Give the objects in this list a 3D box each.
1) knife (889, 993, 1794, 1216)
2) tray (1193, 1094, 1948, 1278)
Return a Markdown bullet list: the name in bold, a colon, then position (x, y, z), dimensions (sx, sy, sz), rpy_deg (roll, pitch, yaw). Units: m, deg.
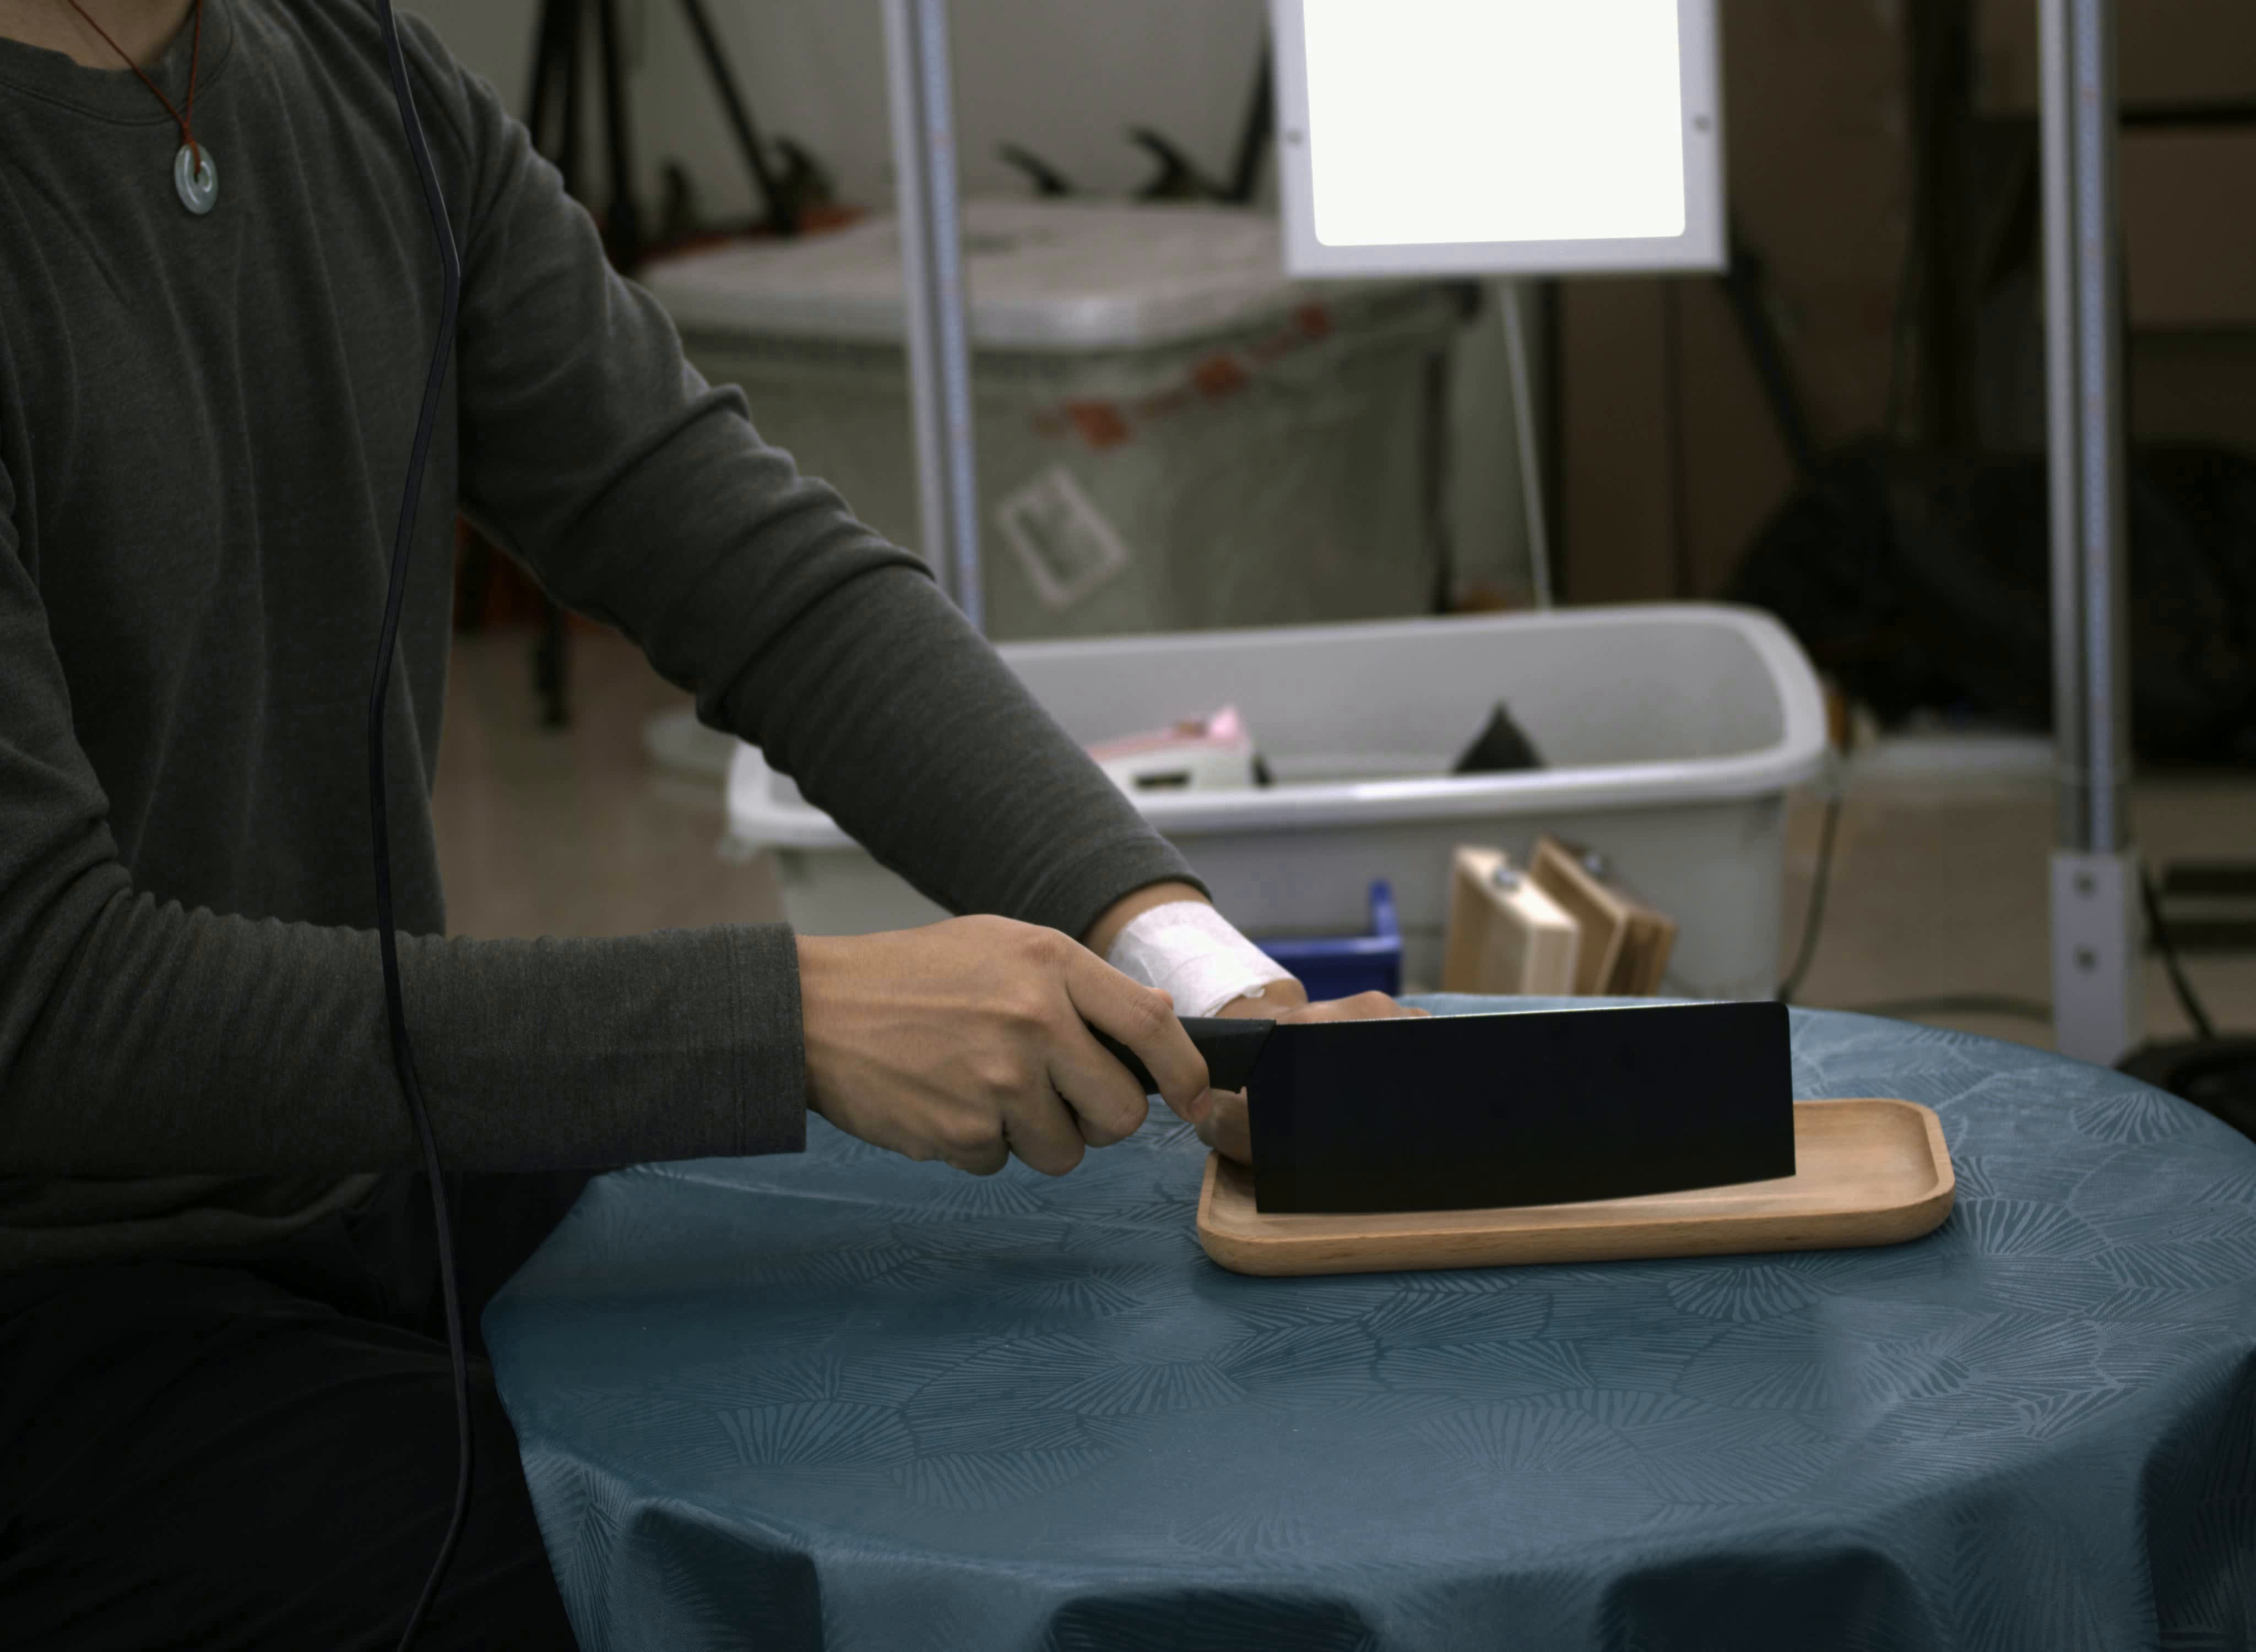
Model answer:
- **knife**: position (0.070, 0.090, 1.822), dimensions (0.303, 0.081, 0.020), rpy_deg (1, 10, 8)
- **tray**: position (0.149, 0.120, 1.840), dimensions (0.252, 0.023, 0.129), rpy_deg (-4, 11, 8)
